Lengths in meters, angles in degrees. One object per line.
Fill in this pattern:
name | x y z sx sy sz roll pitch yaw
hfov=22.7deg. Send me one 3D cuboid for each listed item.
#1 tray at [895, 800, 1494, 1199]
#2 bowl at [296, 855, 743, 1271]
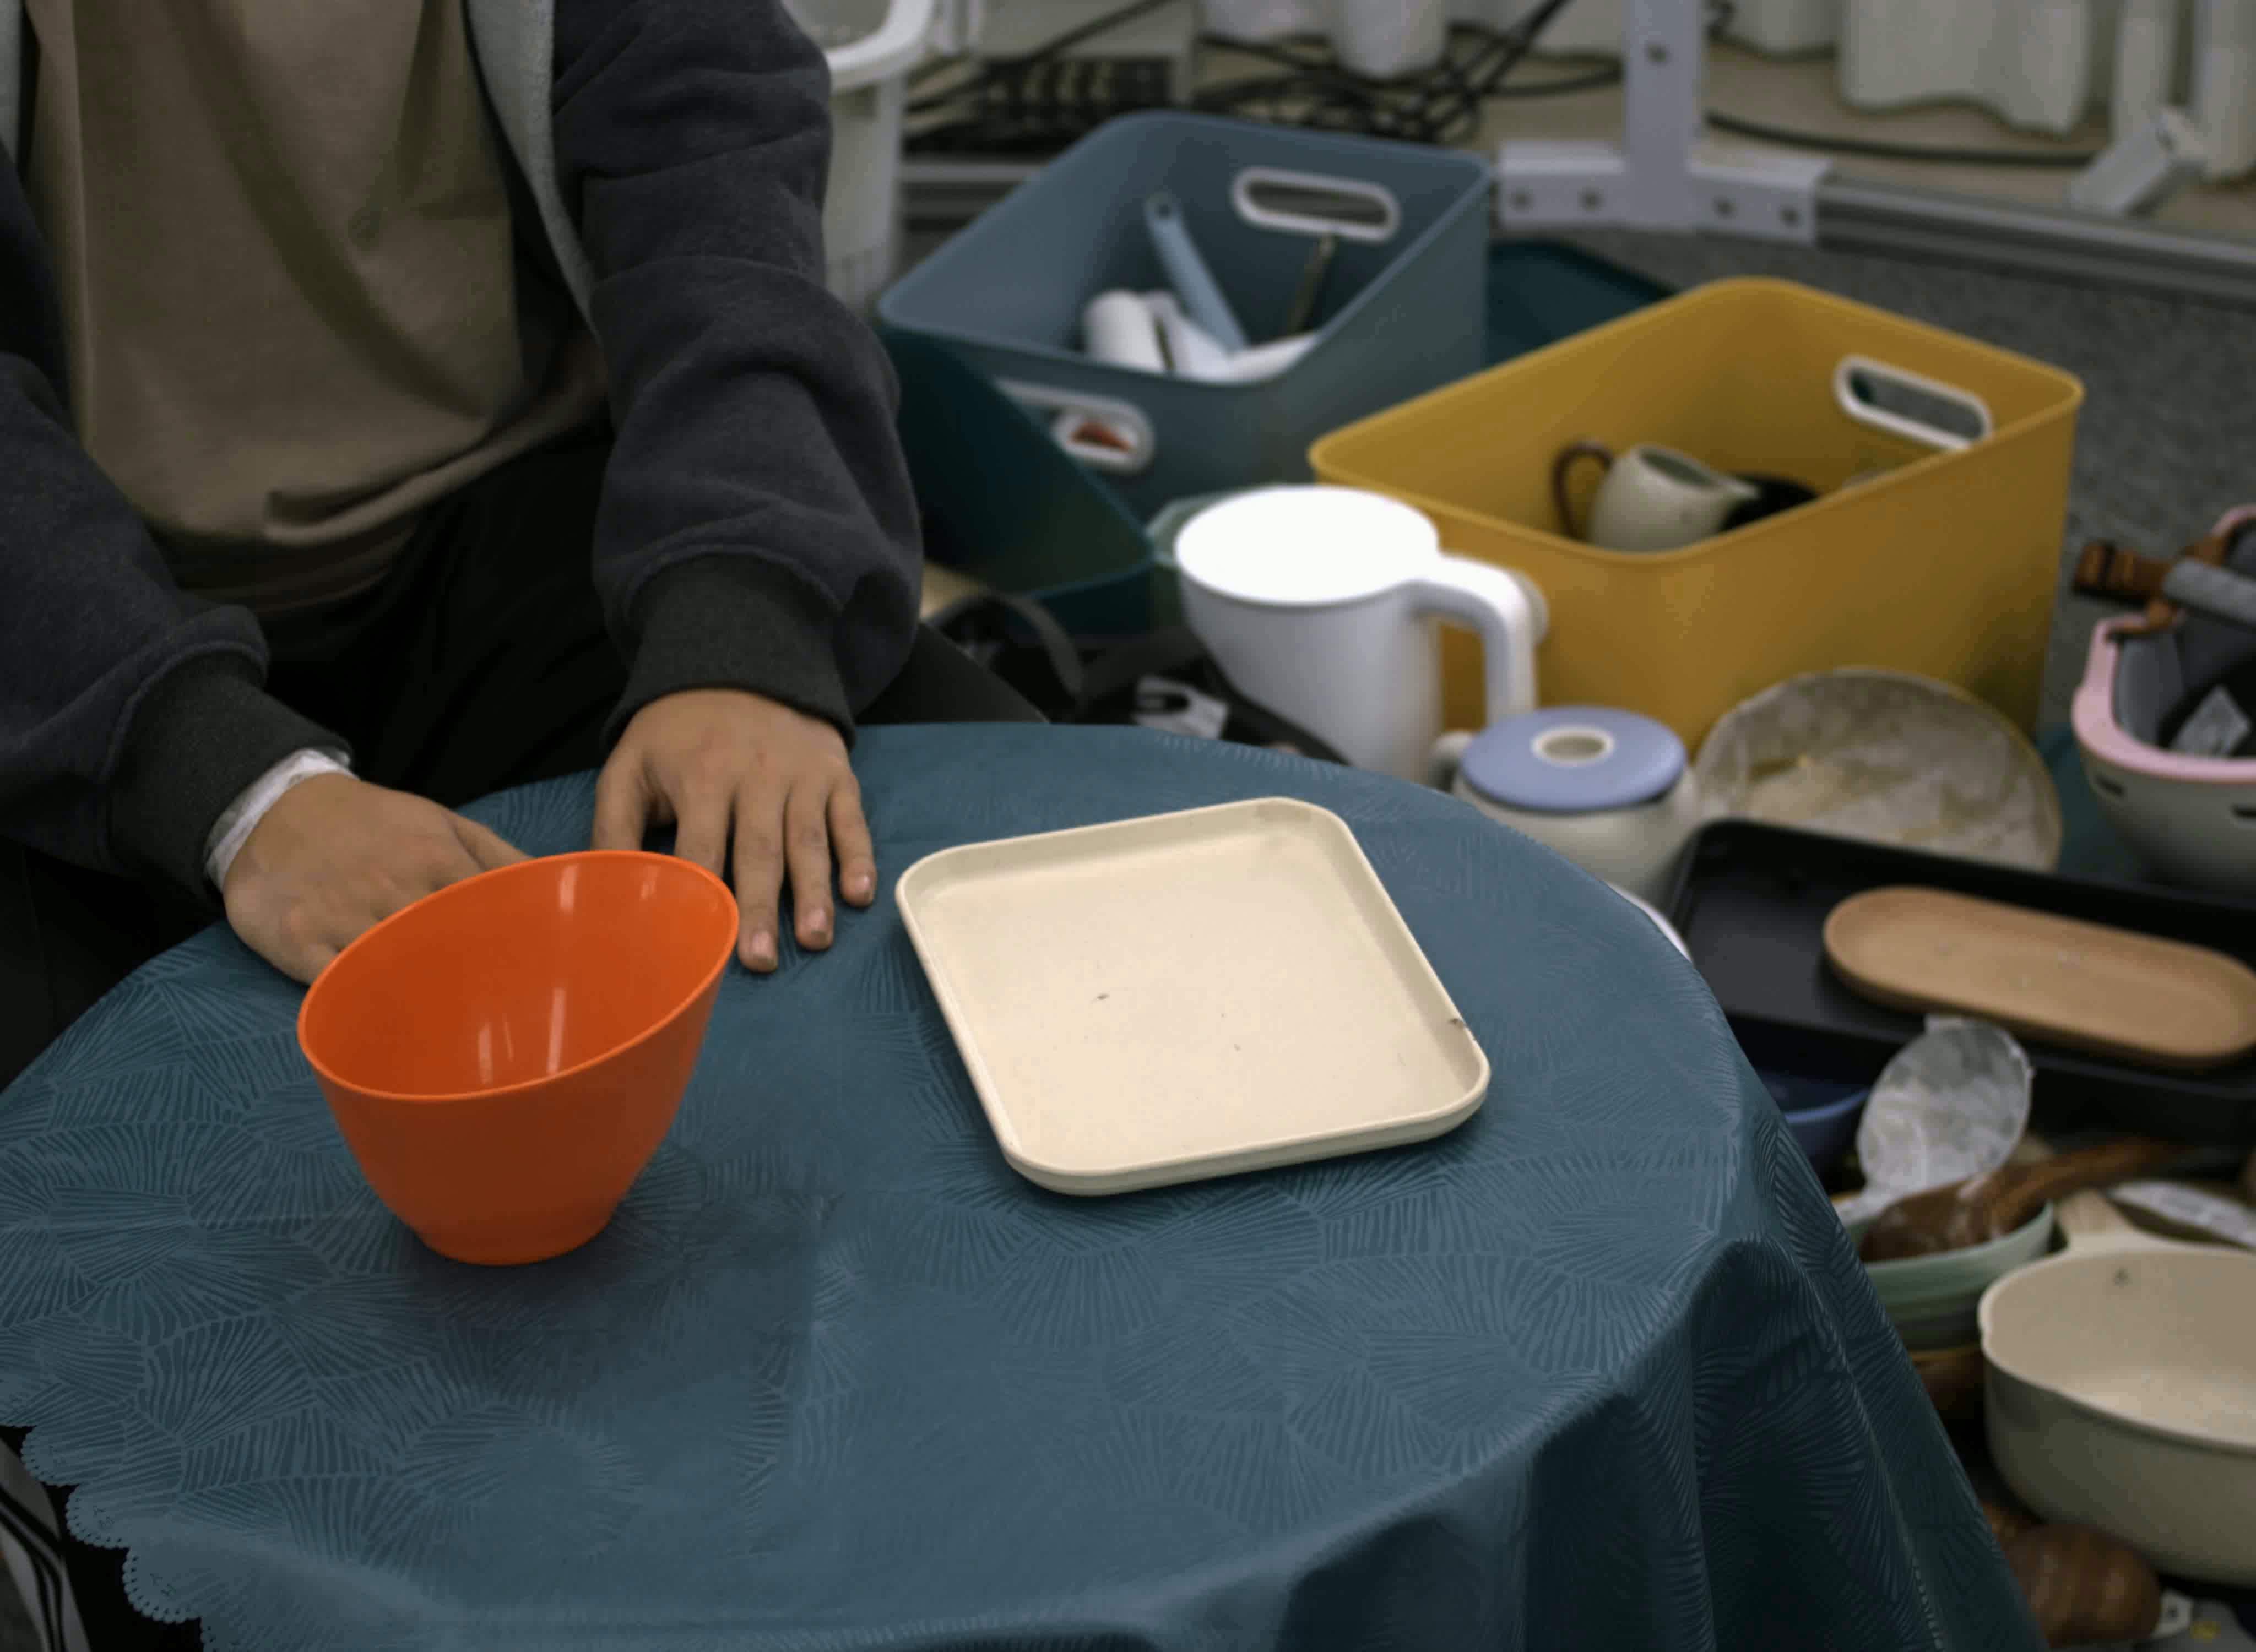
tray | 0.020 0.059 1.962 0.171 0.017 0.242 -9 28 -11
bowl | -0.196 0.085 1.845 0.147 0.103 0.150 -2 28 1
